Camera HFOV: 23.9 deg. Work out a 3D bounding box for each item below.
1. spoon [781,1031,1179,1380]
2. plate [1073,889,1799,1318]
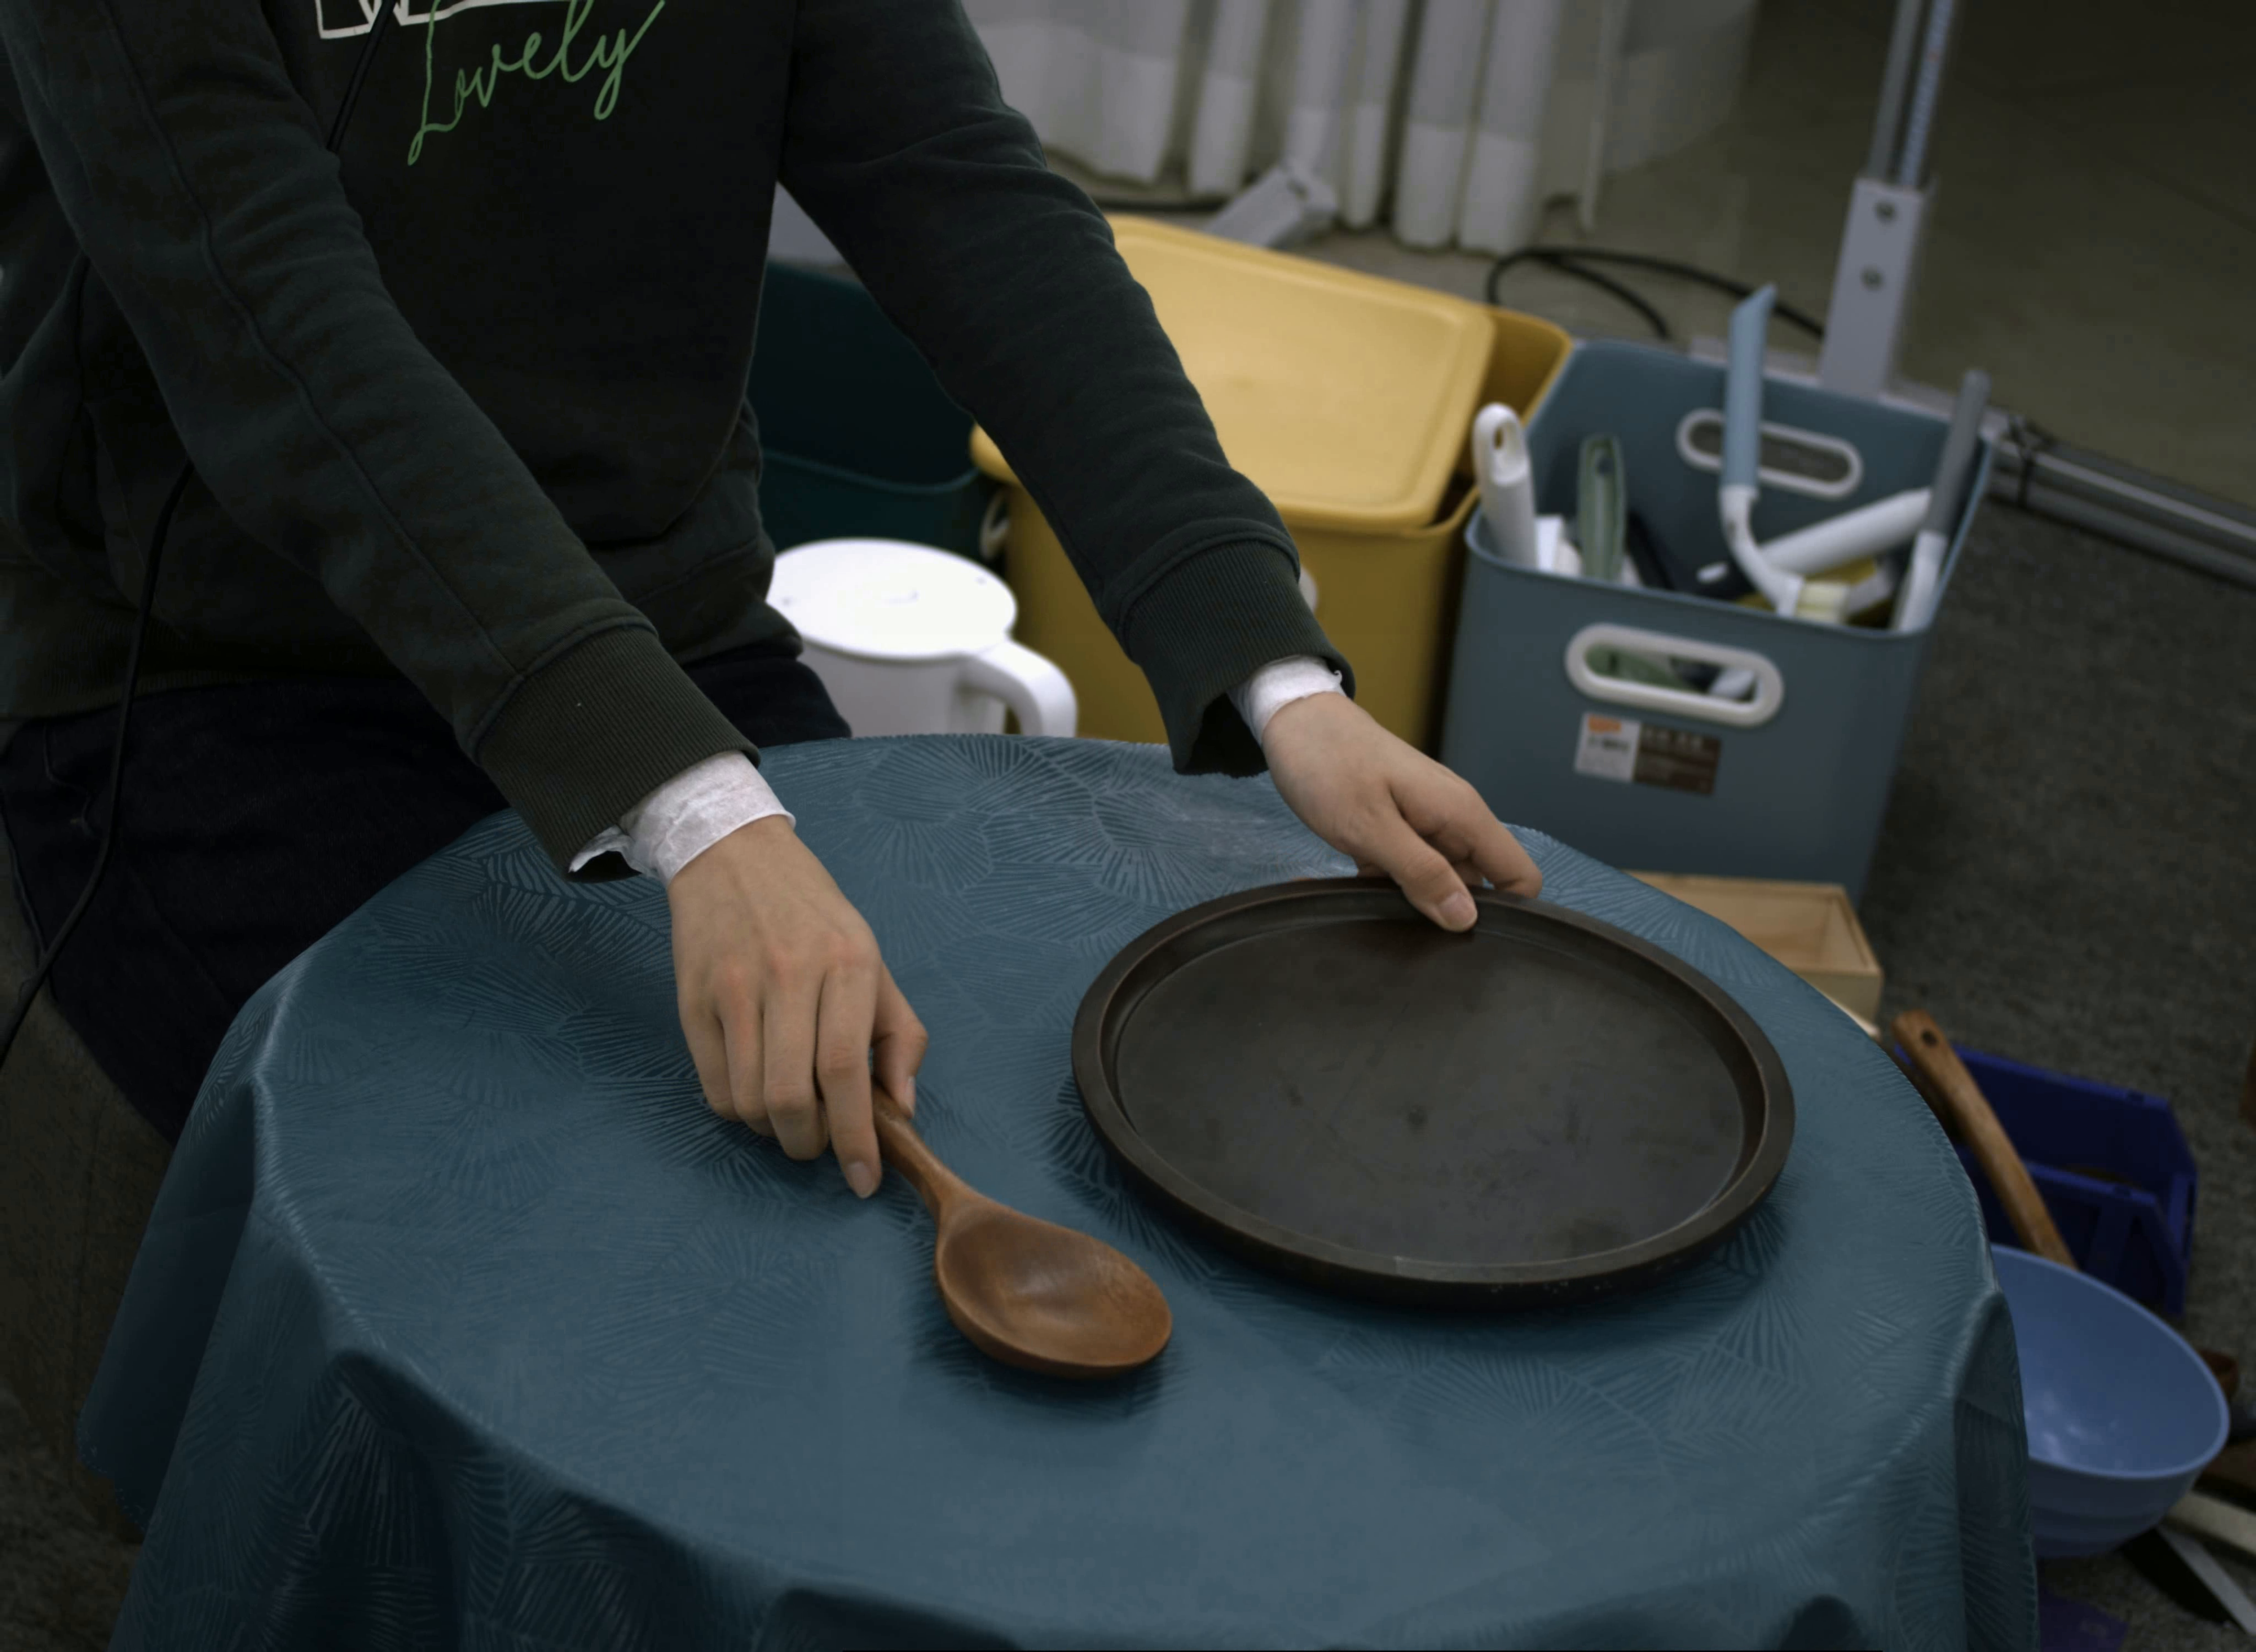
[{"bbox_3d":[-0.057,0.126,1.759,0.075,0.017,0.218,-8,32,-31],"label":"spoon"},{"bbox_3d":[0.106,0.094,1.844,0.254,0.029,0.256,5,31,-3],"label":"plate"}]
